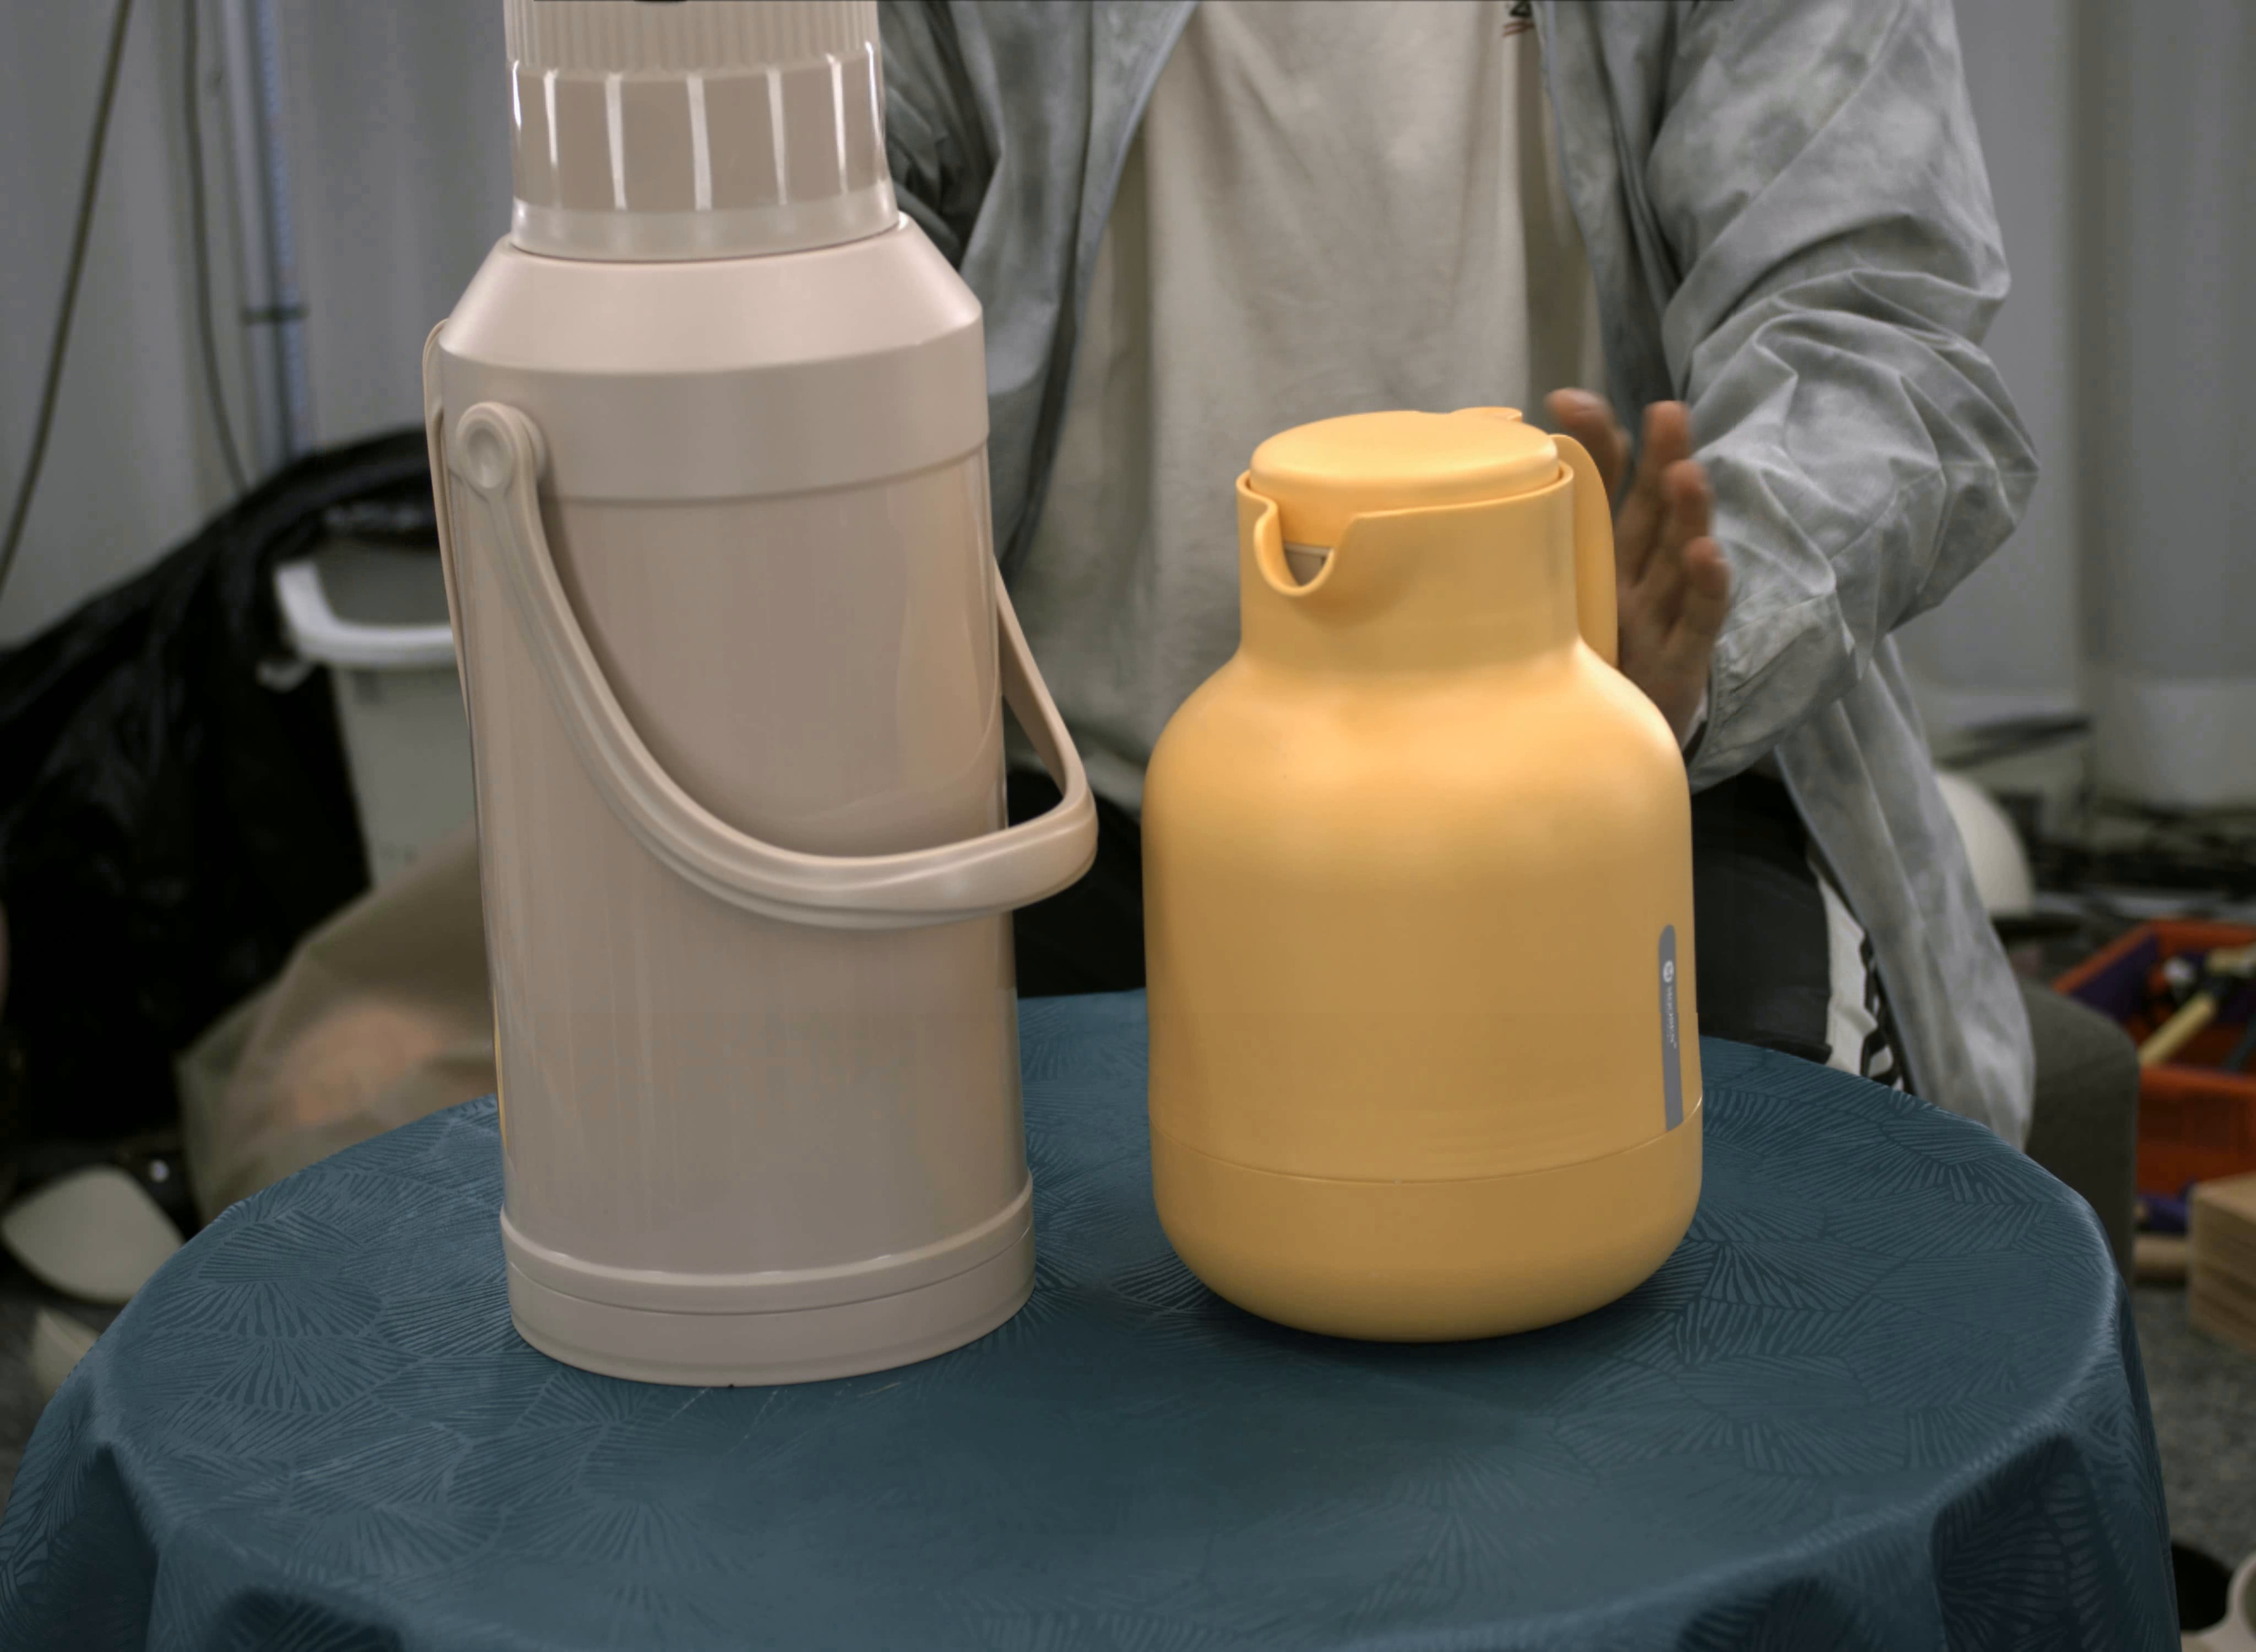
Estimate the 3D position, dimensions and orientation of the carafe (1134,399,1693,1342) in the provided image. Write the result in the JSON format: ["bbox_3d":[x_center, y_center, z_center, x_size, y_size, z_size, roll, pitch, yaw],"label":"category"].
[{"bbox_3d":[0.093,0.005,1.610,0.164,0.259,0.202,8,18,29],"label":"carafe"}]

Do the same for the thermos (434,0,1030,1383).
[{"bbox_3d":[-0.125,-0.054,1.607,0.208,0.404,0.175,11,20,42],"label":"thermos"}]
